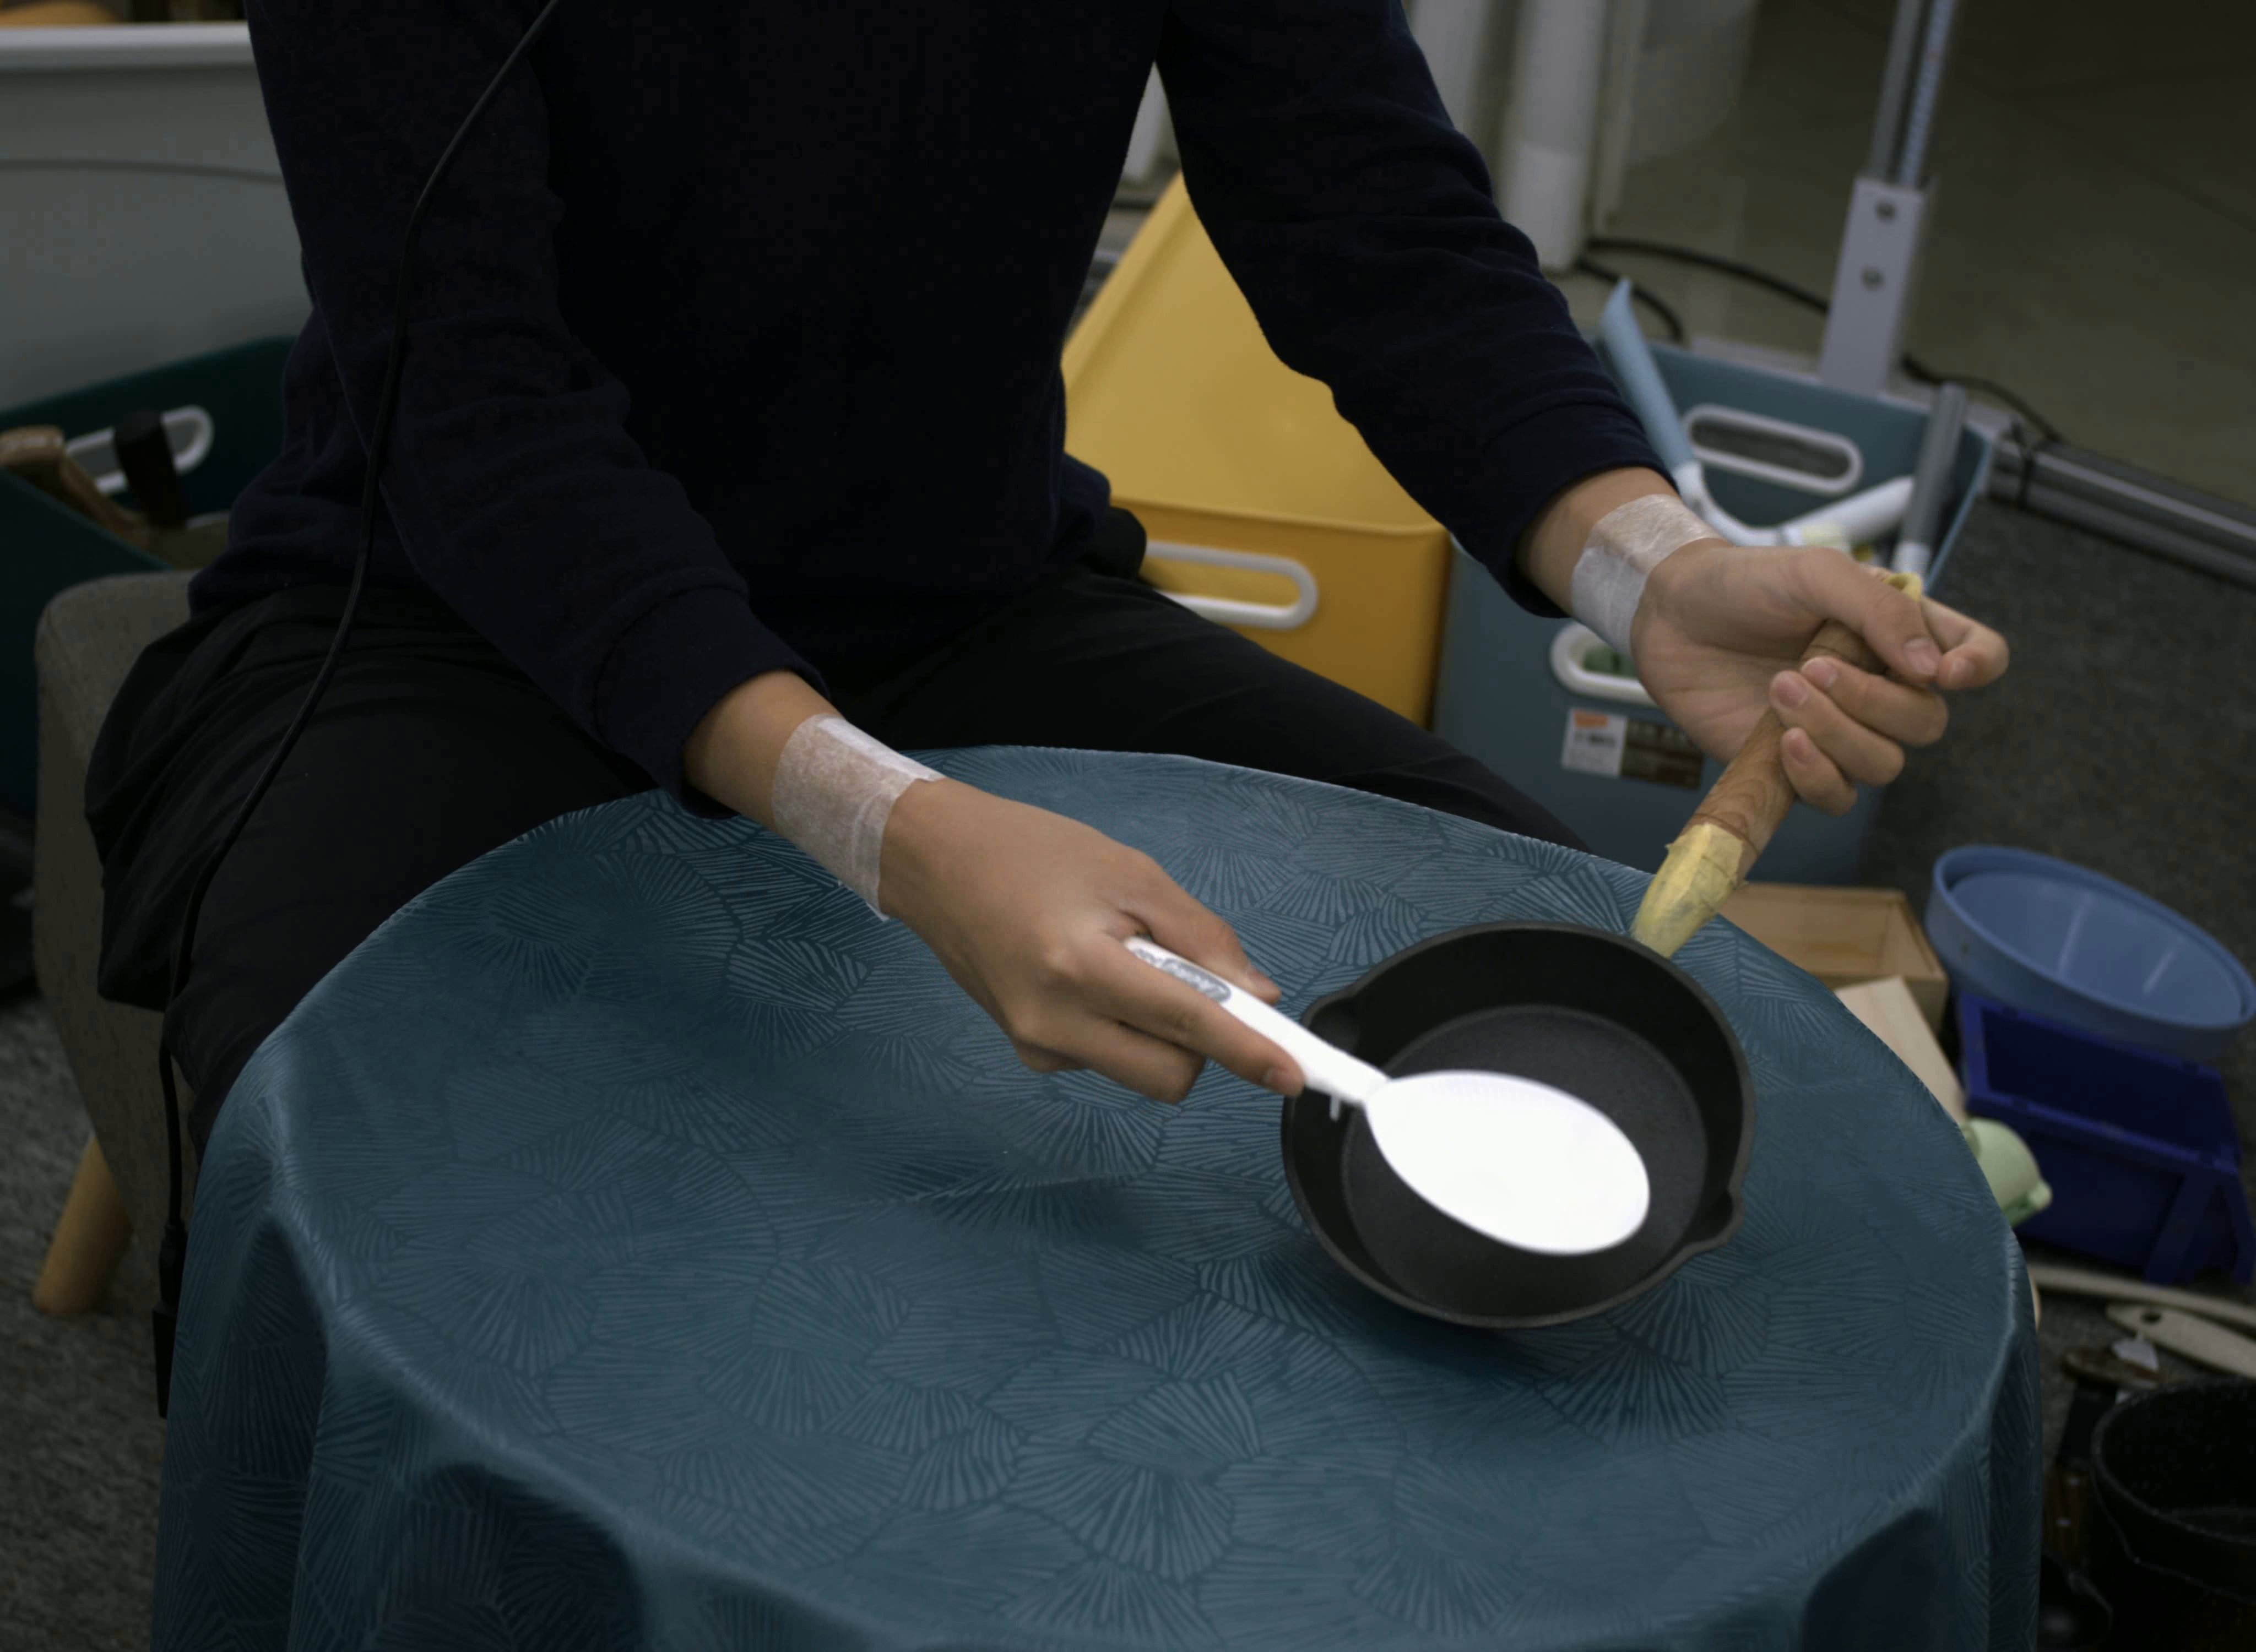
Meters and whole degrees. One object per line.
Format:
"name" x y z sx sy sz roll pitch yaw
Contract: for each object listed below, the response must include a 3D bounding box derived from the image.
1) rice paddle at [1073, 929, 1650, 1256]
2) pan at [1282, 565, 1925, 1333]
"rice paddle" 0.078 0.087 1.746 0.206 0.029 0.069 24 47 18
"pan" 0.180 0.039 1.792 0.170 0.049 0.324 29 67 26
